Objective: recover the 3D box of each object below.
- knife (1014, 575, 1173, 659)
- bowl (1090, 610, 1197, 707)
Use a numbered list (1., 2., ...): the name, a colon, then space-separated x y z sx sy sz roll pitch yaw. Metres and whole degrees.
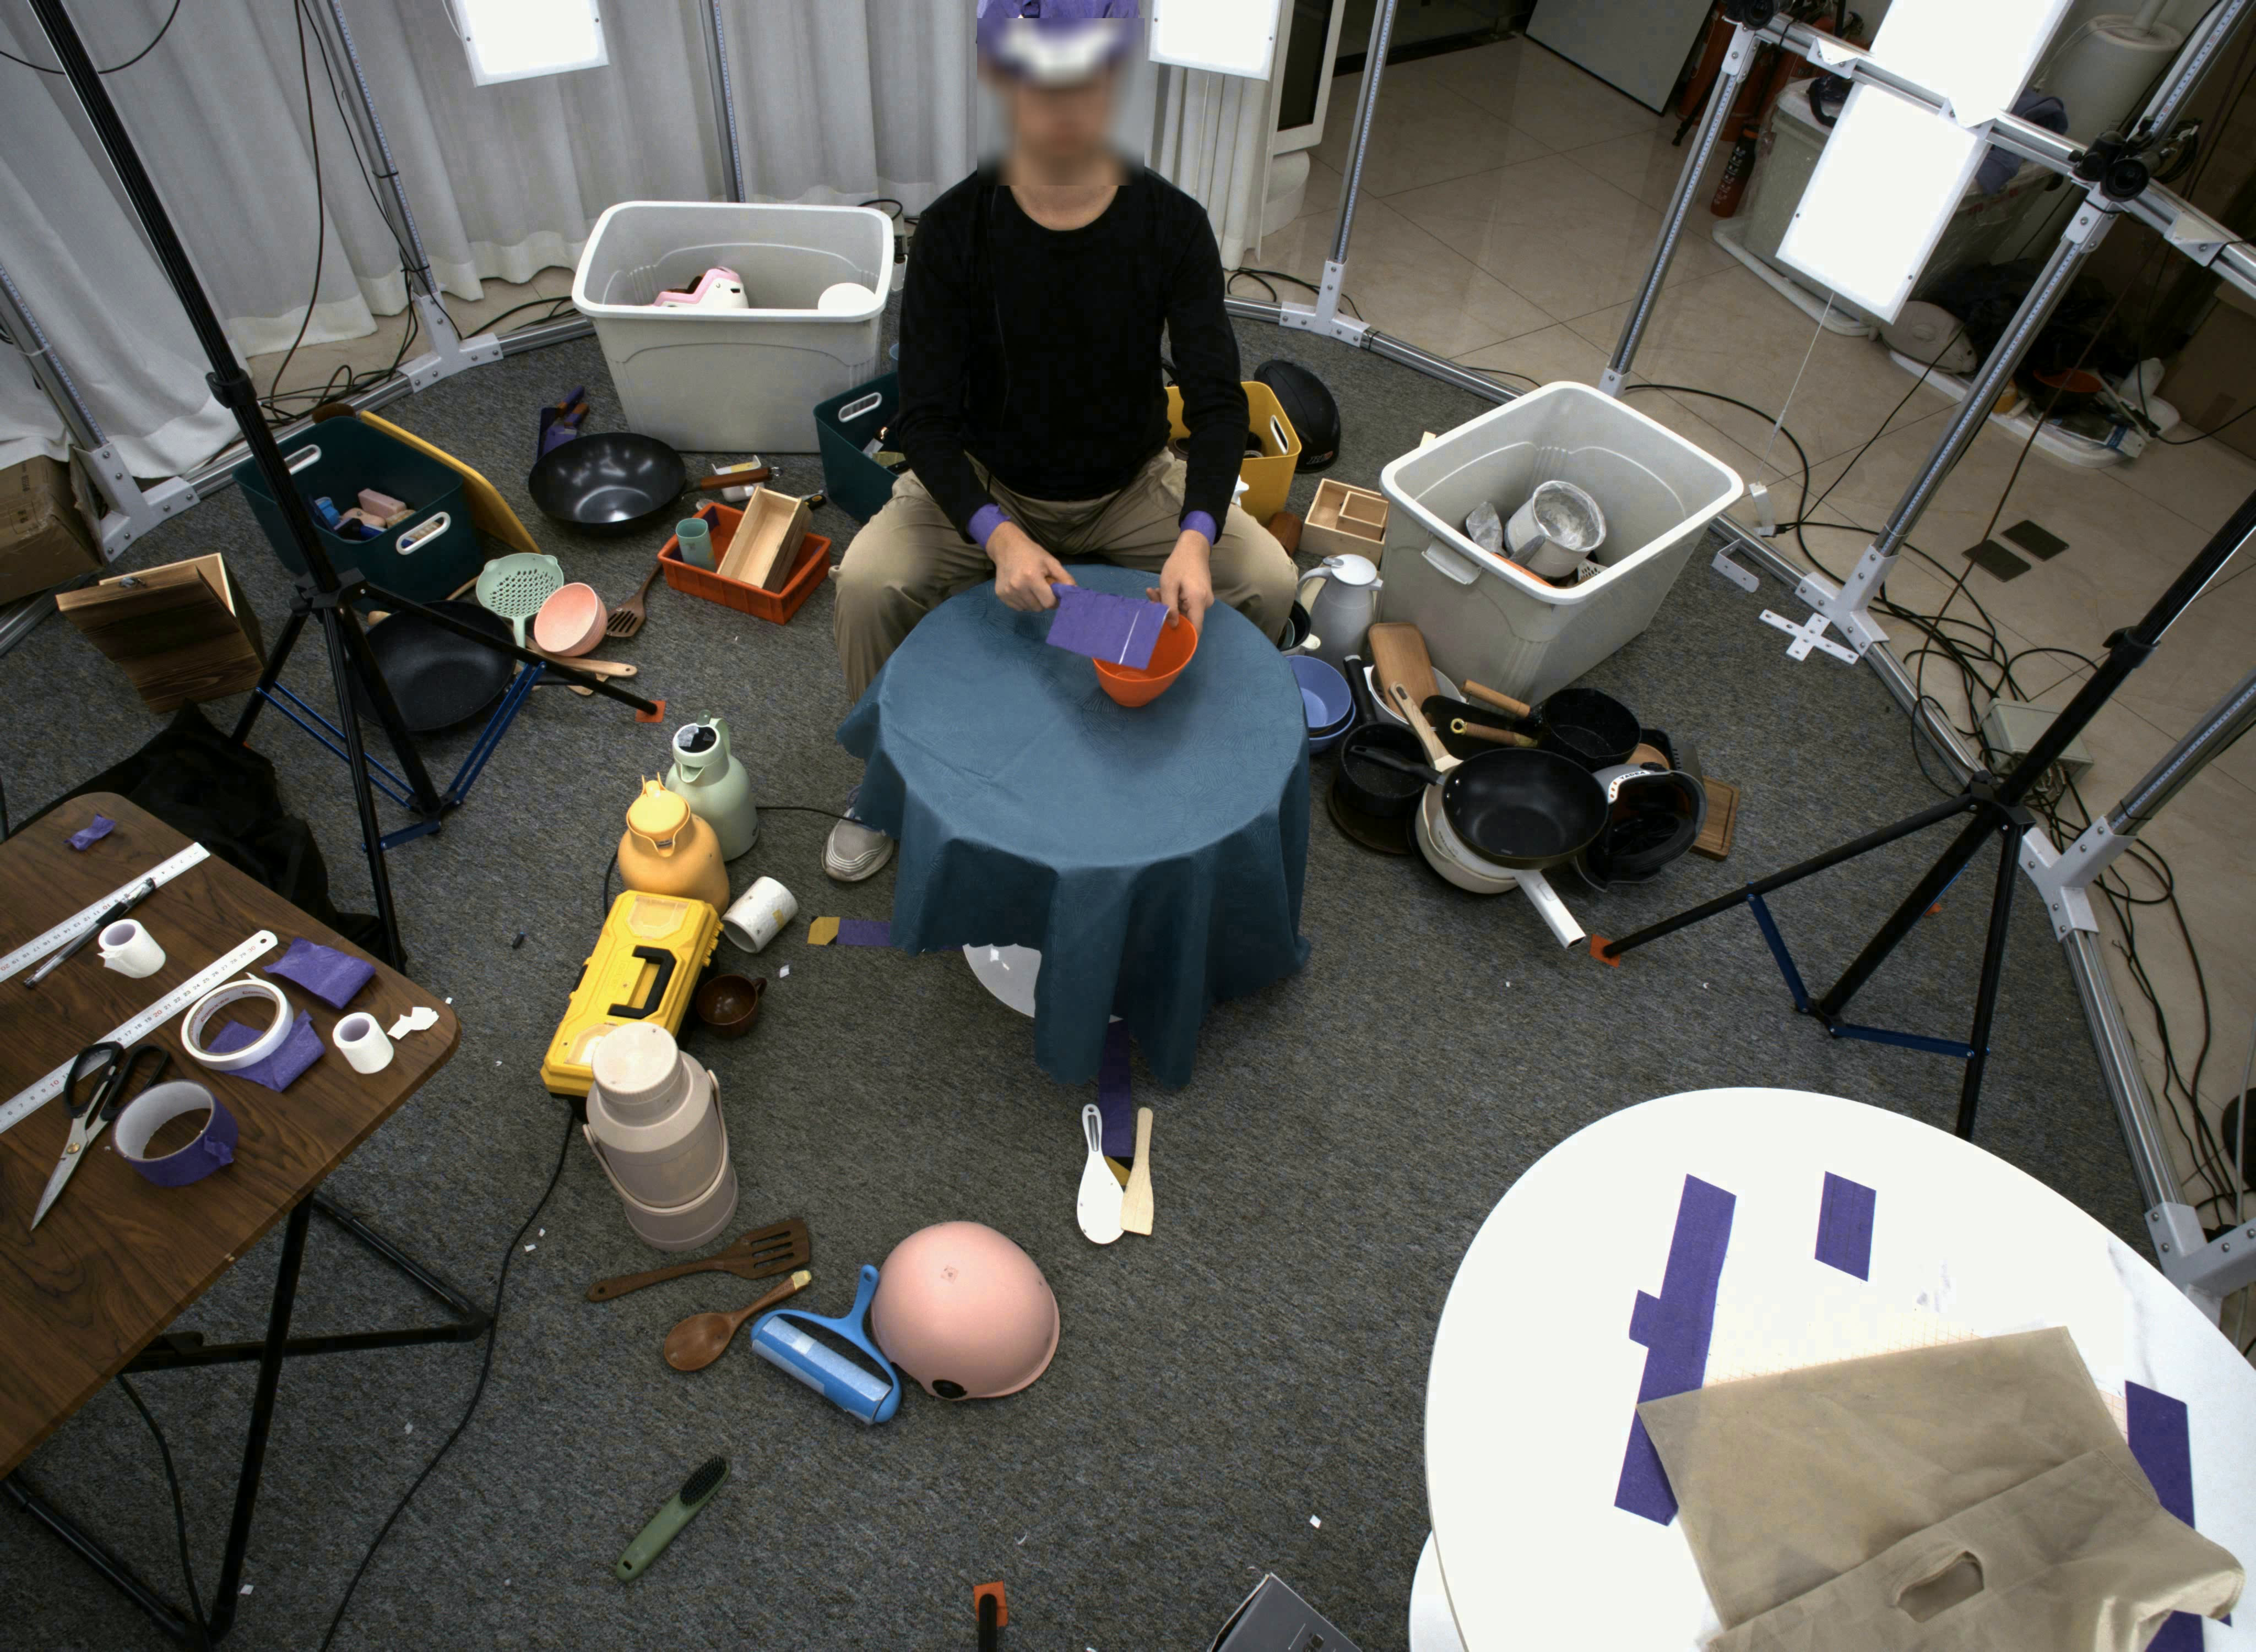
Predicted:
1. knife: -0.065 -0.294 1.795 0.319 0.032 0.104 20 86 46
2. bowl: 0.019 -0.226 1.800 0.148 0.102 0.151 2 52 -3
